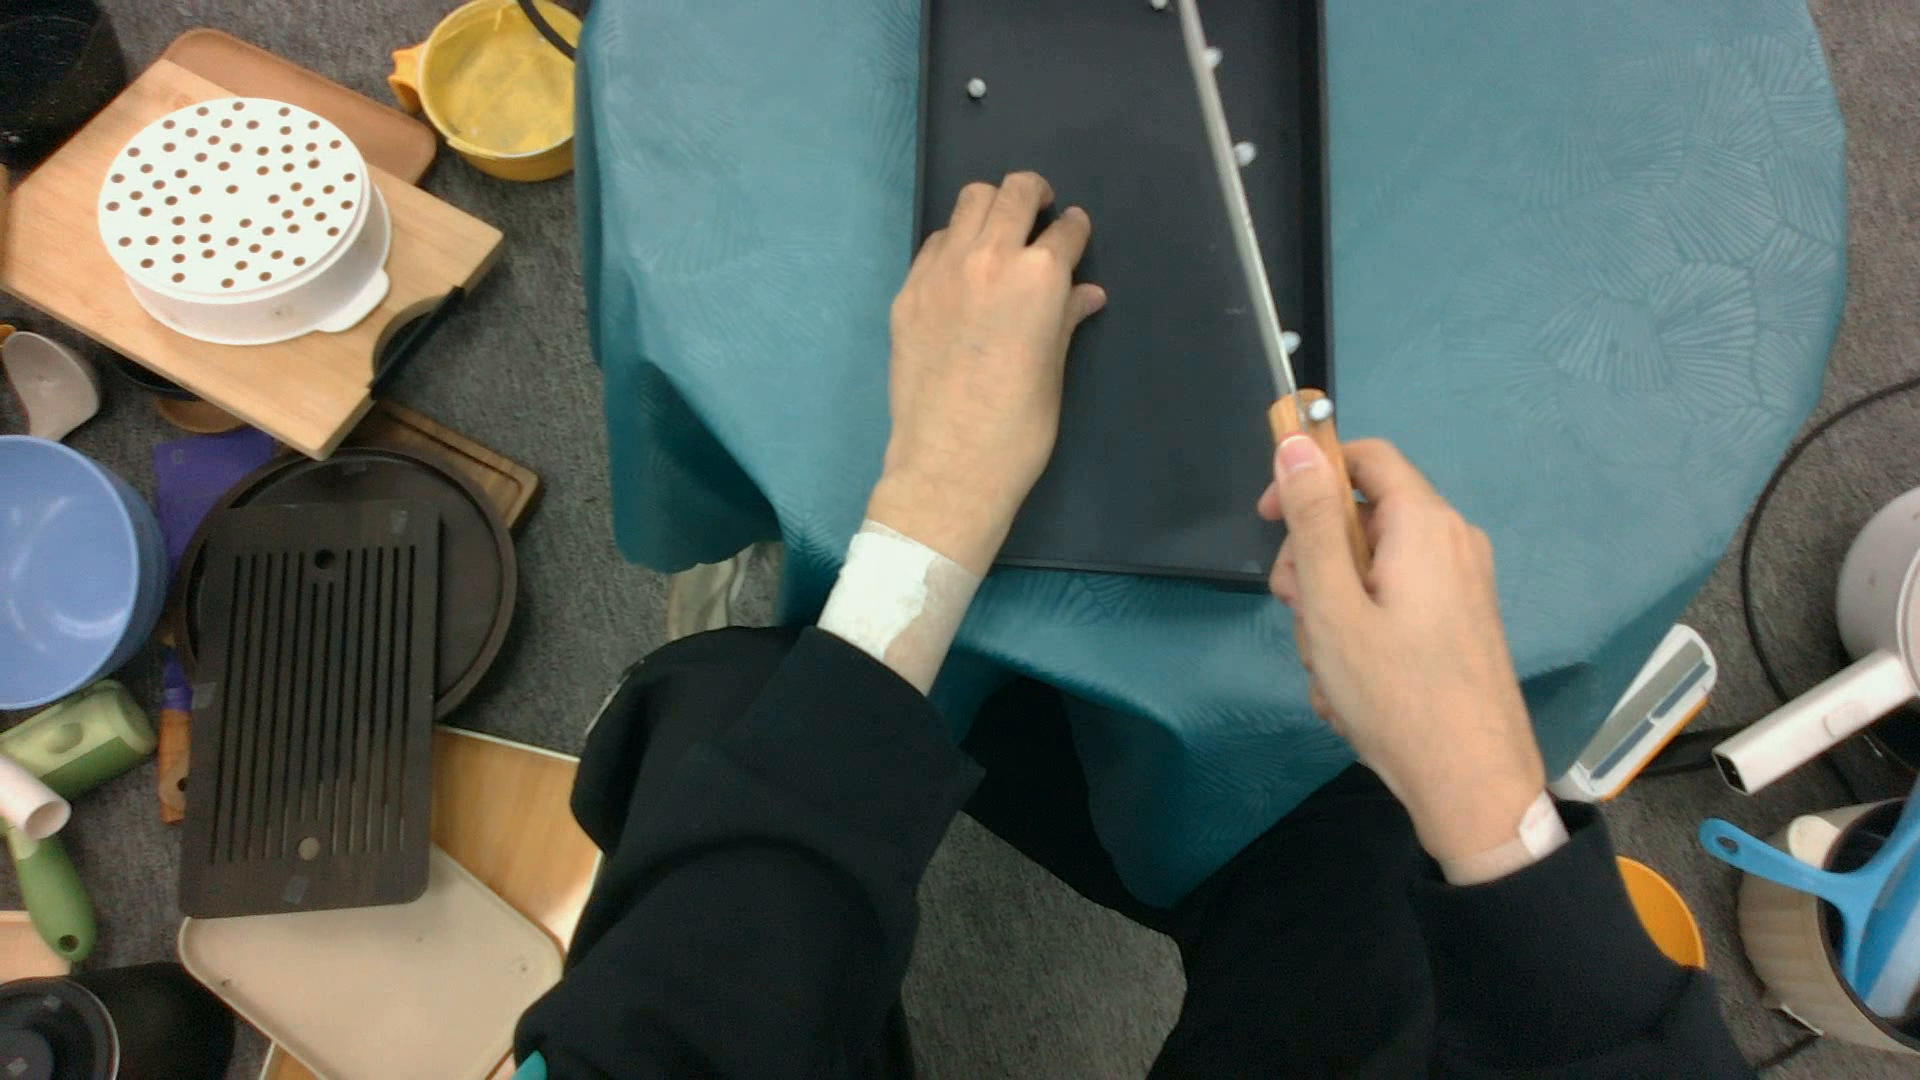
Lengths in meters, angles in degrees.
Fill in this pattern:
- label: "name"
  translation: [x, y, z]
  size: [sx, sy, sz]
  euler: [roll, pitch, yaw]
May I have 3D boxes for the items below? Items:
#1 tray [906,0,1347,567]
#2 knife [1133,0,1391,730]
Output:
- label: "tray"
  translation: [0.070, -0.146, 0.611]
  size: [0.184, 0.037, 0.318]
  euler: [2, 76, -5]
- label: "knife"
  translation: [0.109, -0.075, 0.533]
  size: [0.021, 0.093, 0.306]
  euler: [-16, 77, 8]
